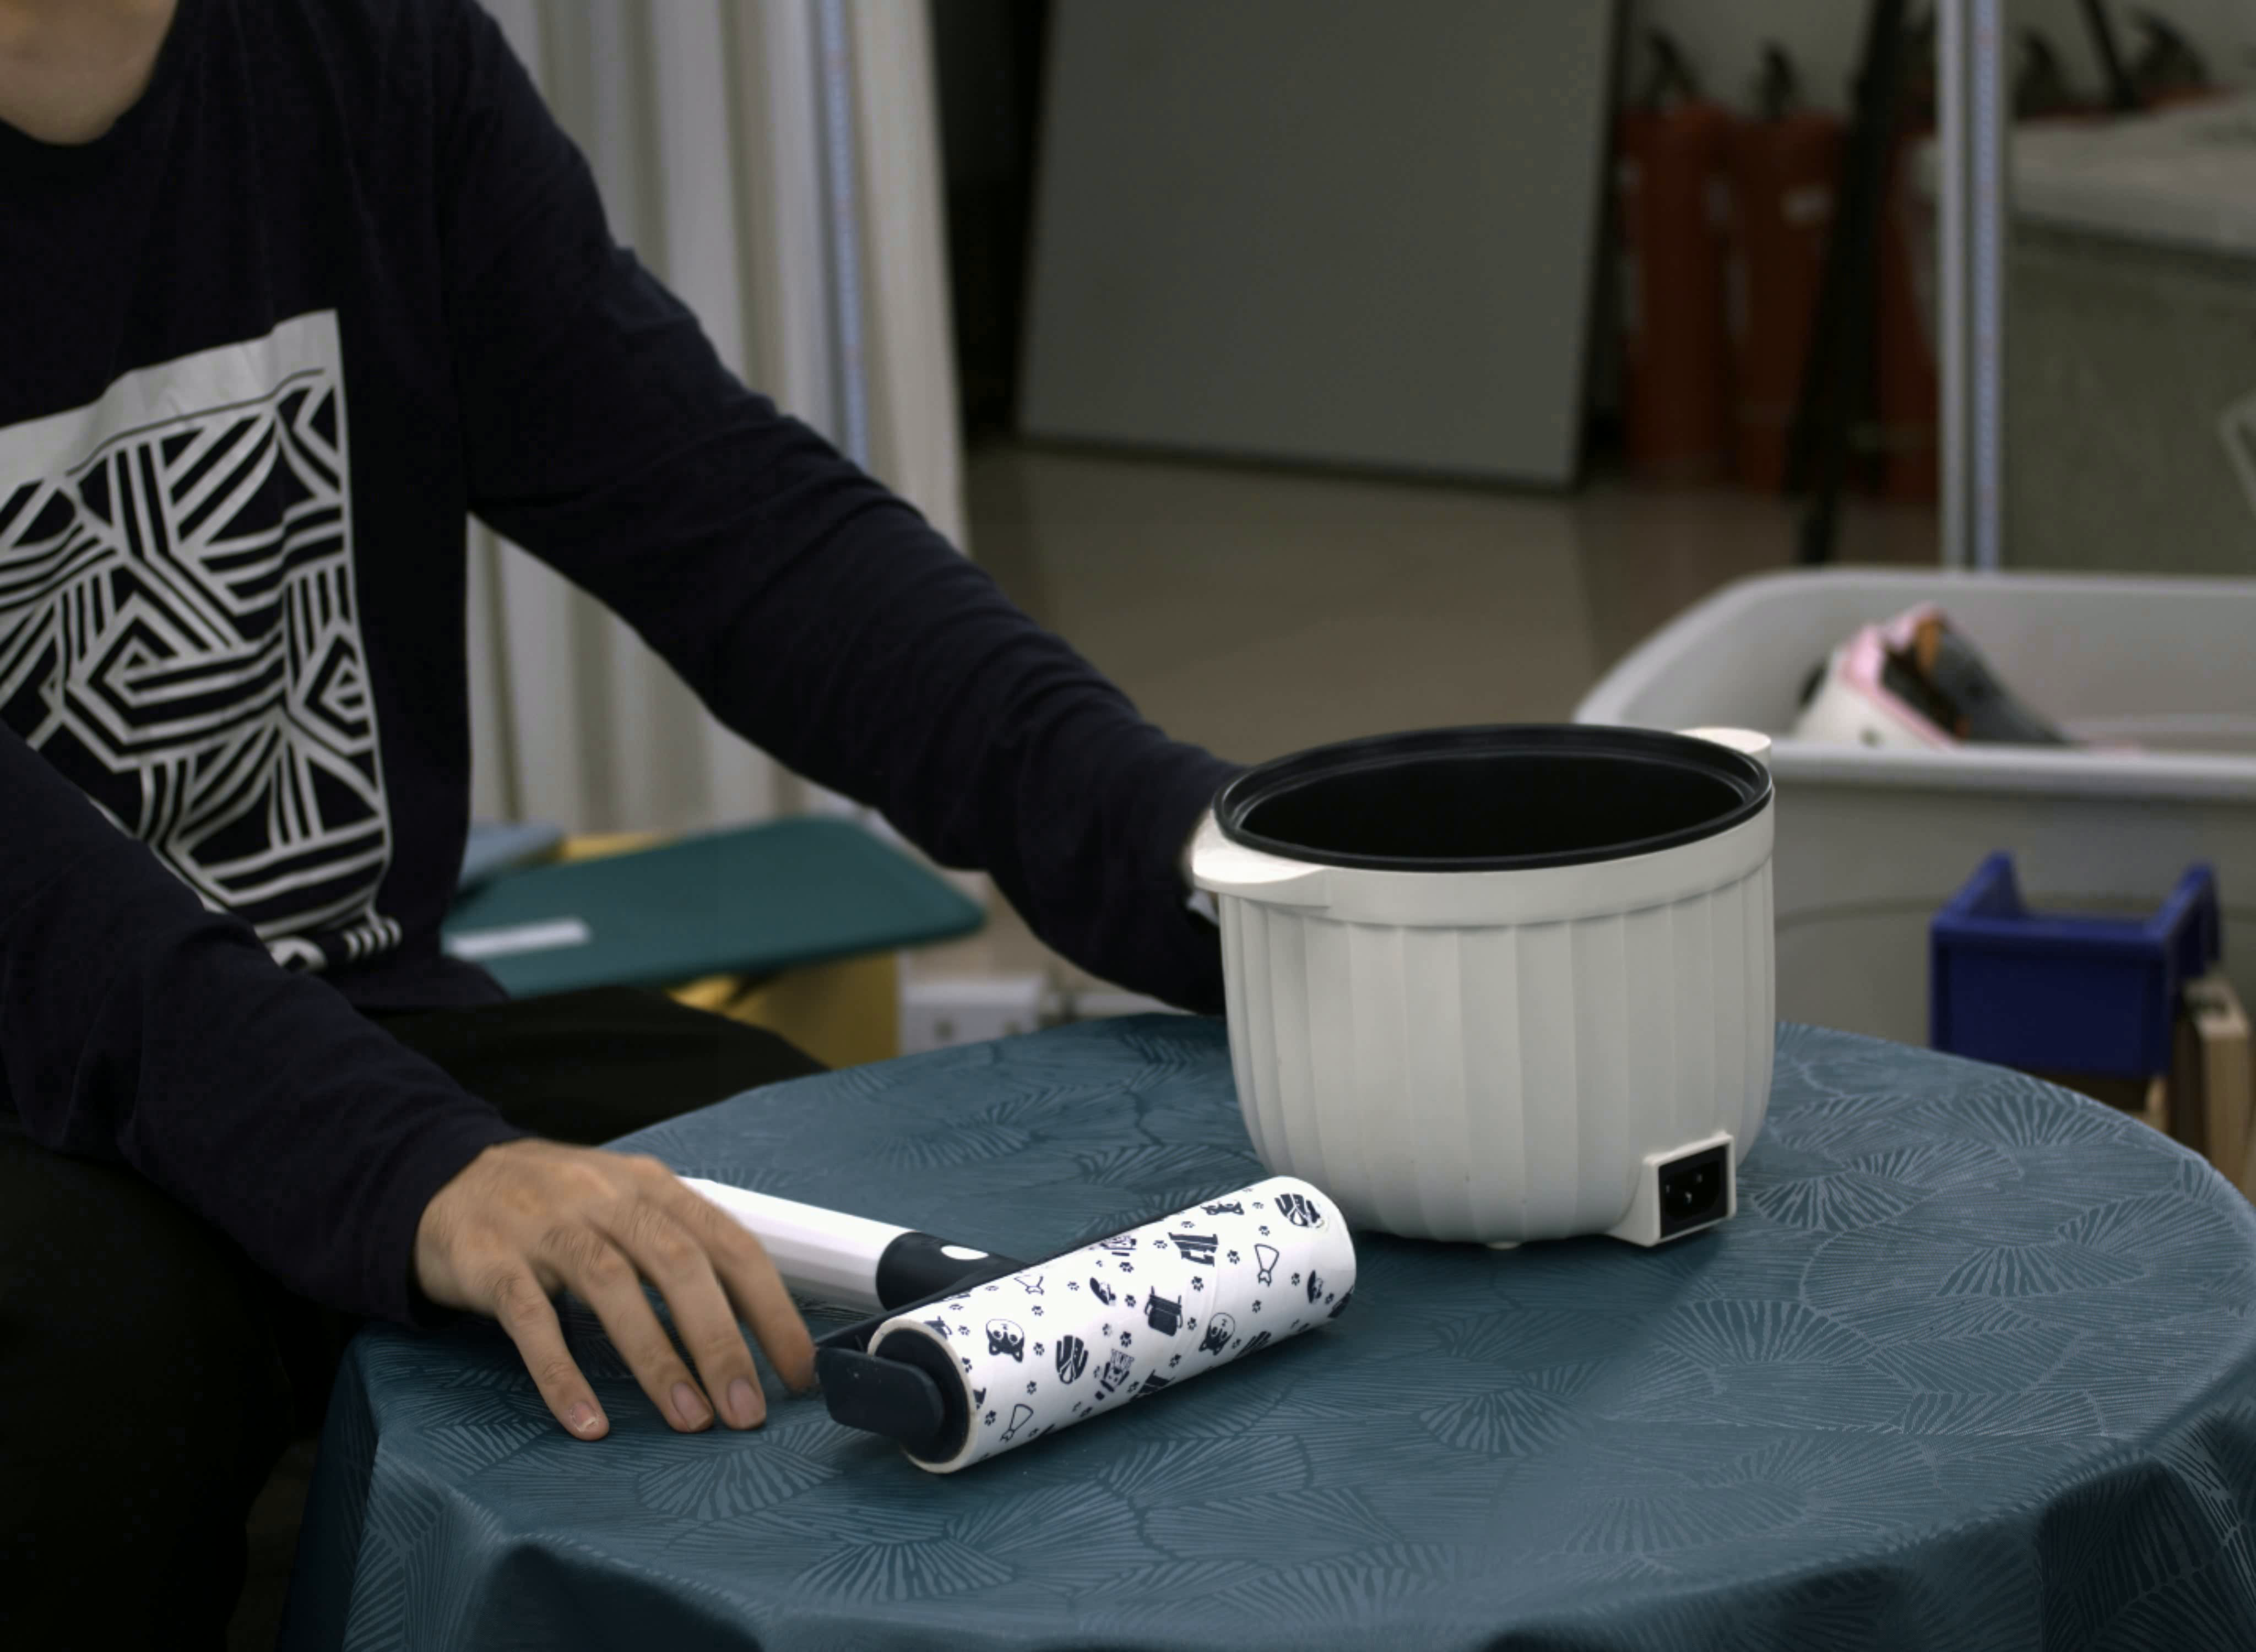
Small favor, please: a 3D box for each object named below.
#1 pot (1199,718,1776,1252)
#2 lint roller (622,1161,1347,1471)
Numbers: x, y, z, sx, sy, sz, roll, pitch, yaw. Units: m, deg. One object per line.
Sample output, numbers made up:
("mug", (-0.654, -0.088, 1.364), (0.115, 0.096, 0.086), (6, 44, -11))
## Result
("pot", (0.115, 0.051, 1.734), (0.235, 0.144, 0.192), (-13, 18, -38))
("lint roller", (-0.075, 0.136, 1.651), (0.173, 0.051, 0.249), (-18, 16, -42))
